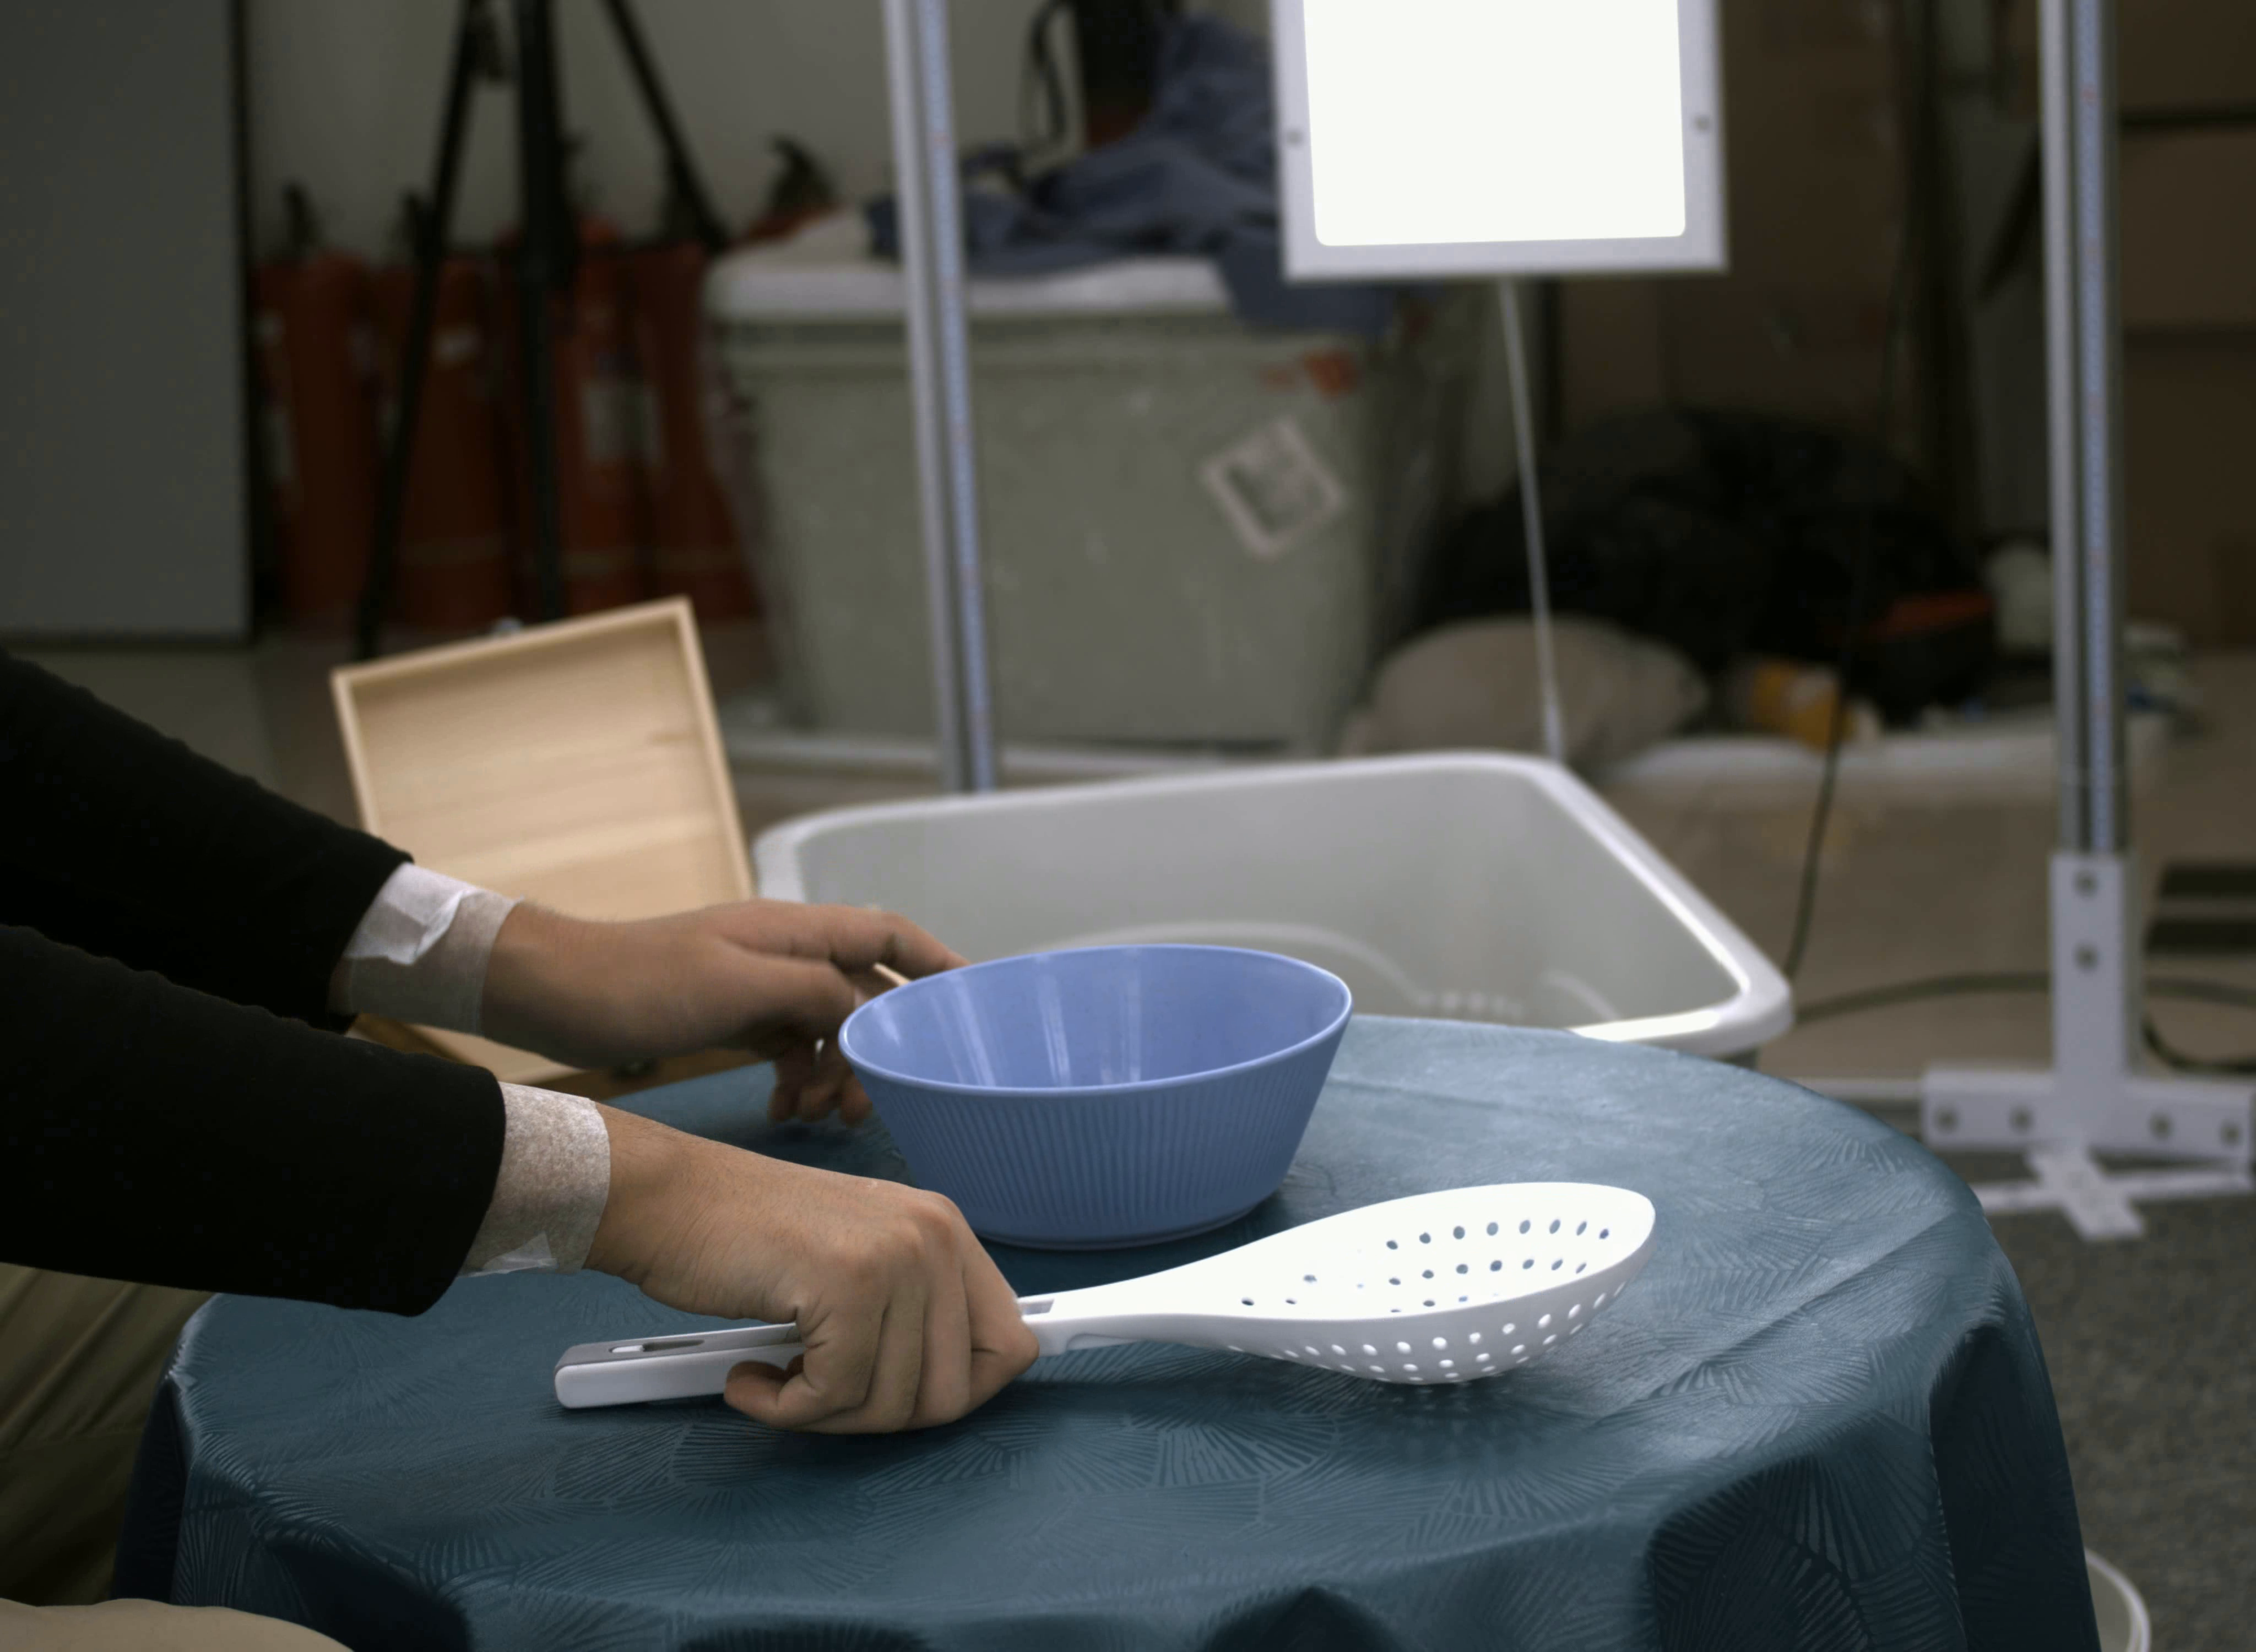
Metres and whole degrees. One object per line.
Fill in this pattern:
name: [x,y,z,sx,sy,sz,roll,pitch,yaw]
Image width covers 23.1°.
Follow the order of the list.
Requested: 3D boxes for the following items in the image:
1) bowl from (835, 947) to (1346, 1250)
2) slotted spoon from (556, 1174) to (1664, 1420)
bowl: [-0.010,0.096,1.882,0.175,0.070,0.176,-6,14,0]
slotted spoon: [-0.007,0.151,1.704,0.351,0.046,0.135,-4,13,9]
